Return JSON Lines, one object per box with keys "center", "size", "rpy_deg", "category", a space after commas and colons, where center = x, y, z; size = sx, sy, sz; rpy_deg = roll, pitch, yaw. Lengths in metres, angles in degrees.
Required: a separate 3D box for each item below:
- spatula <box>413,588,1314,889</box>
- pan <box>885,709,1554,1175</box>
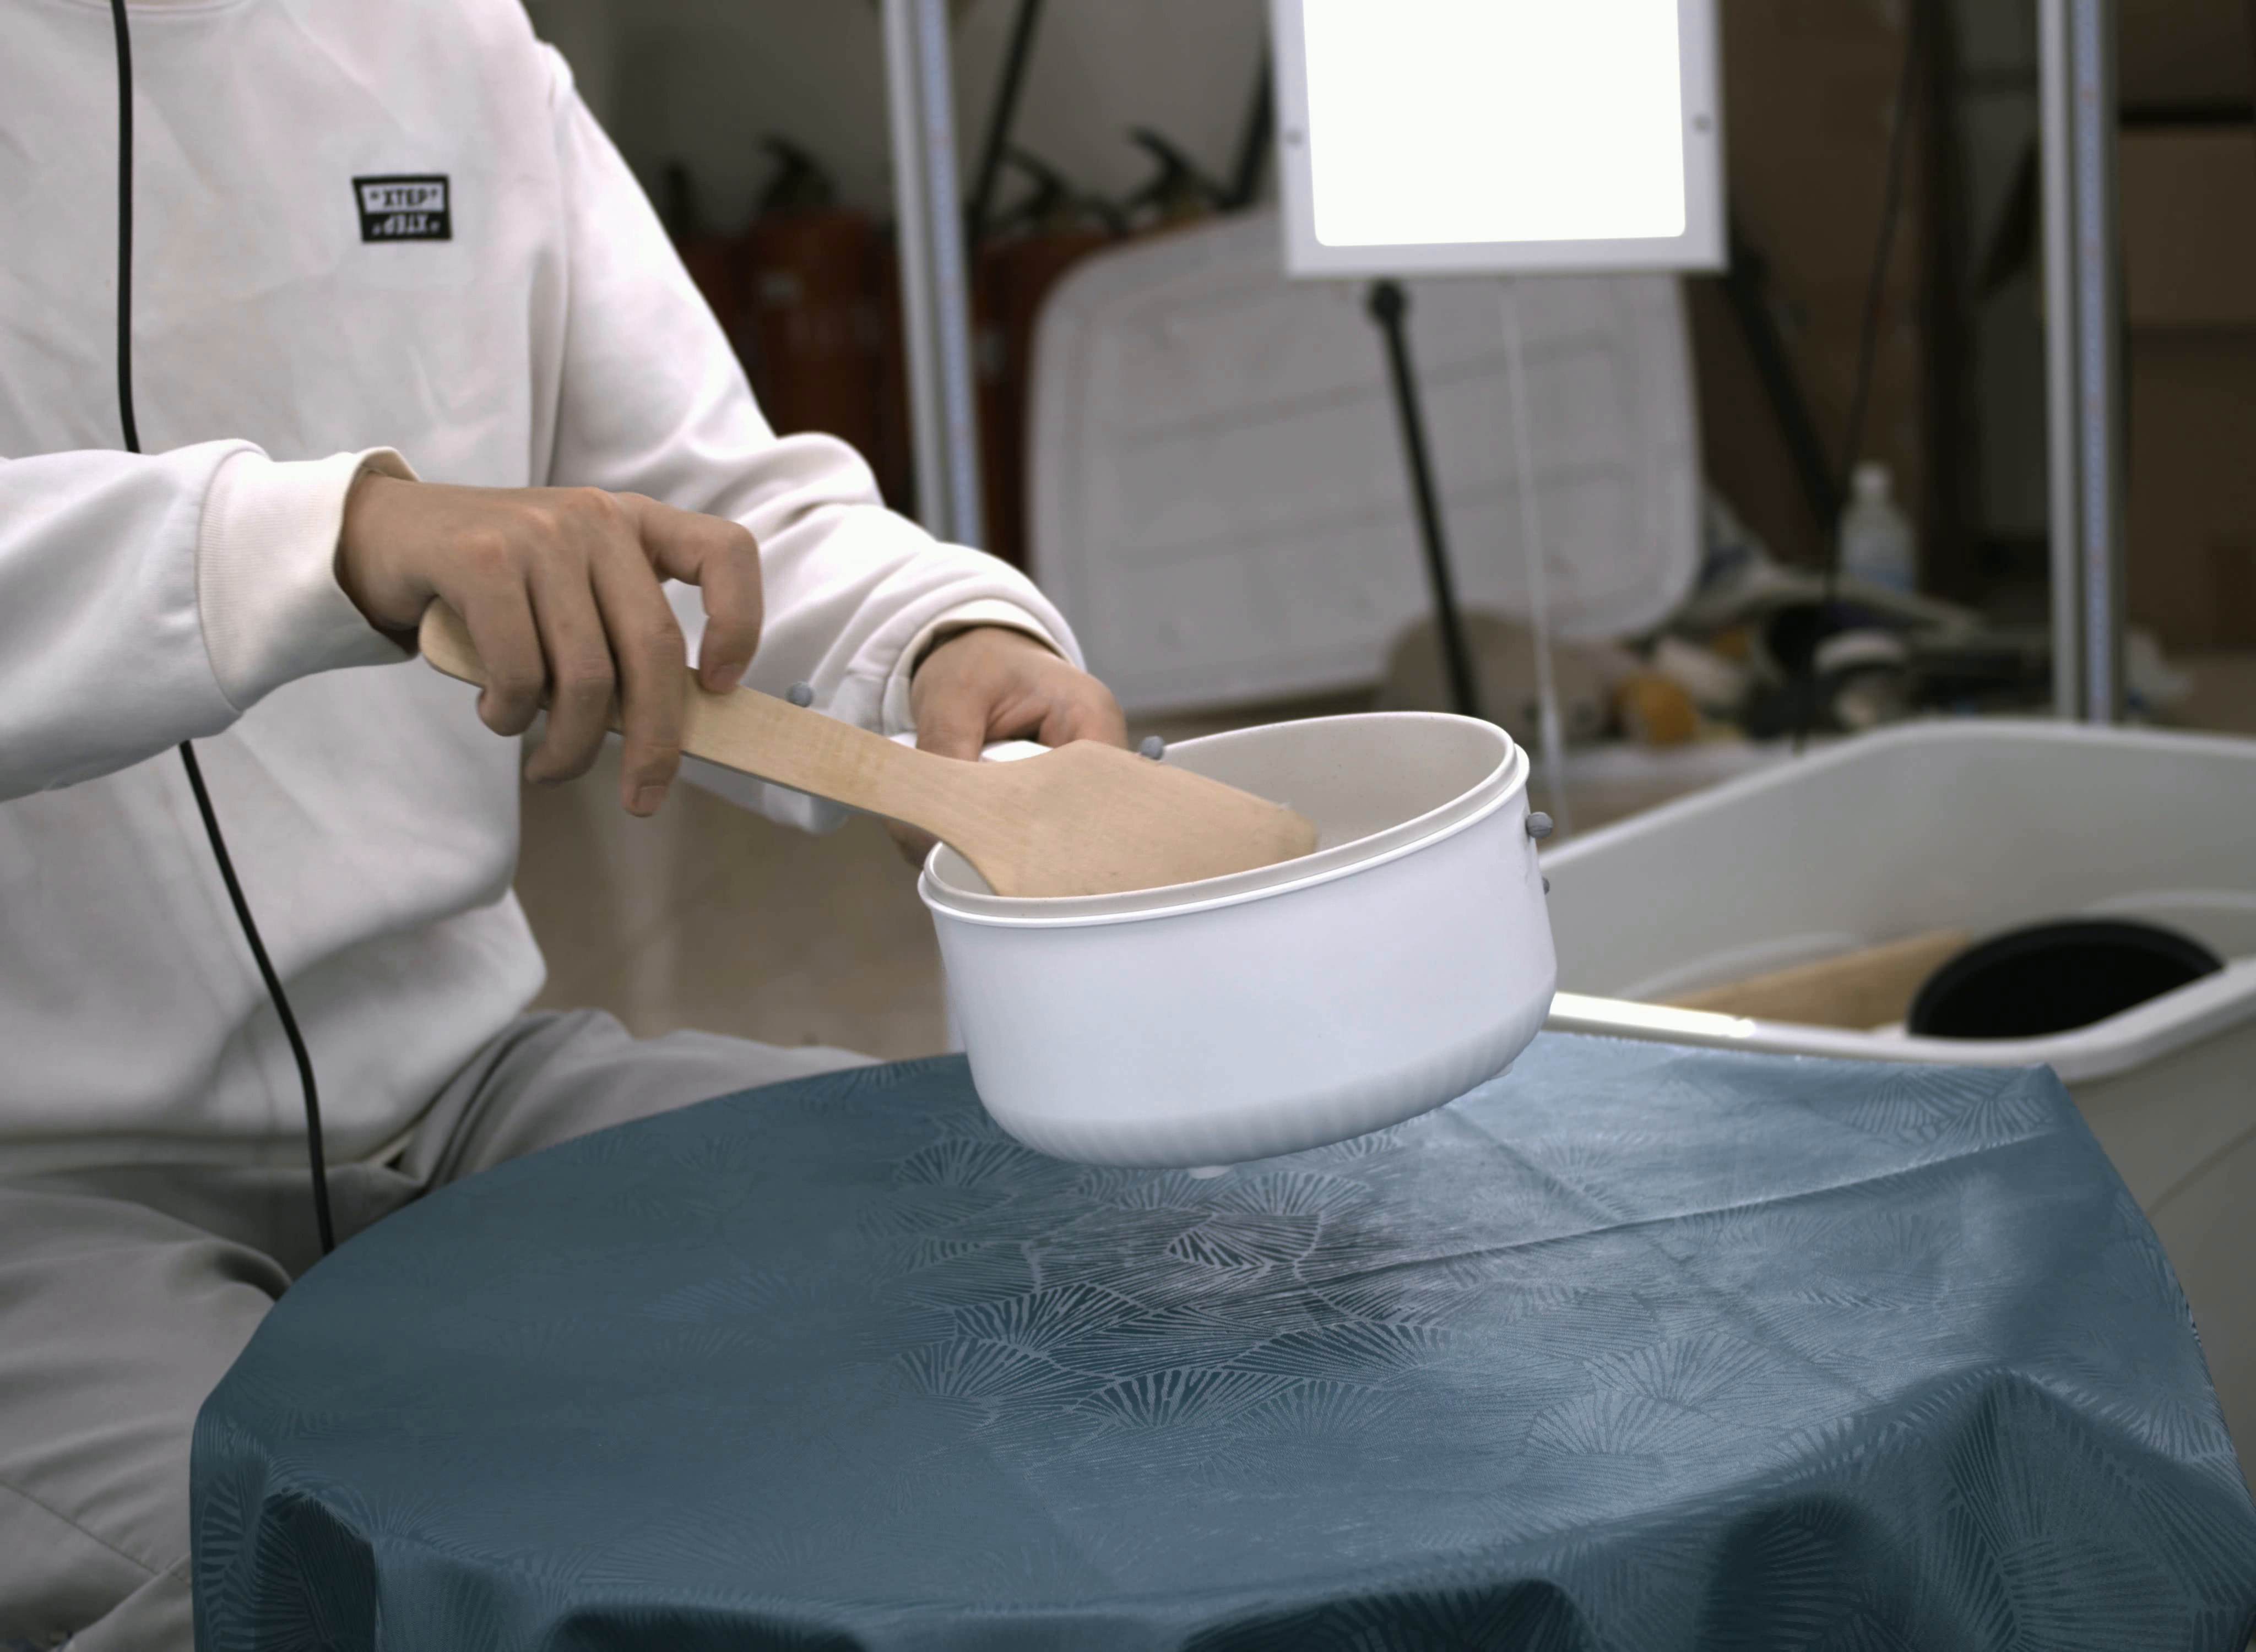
{"center": [-0.085, -0.019, 1.738], "size": [0.292, 0.072, 0.011], "rpy_deg": [19, -12, -2], "category": "spatula"}
{"center": [0.006, 0.030, 1.852], "size": [0.197, 0.102, 0.360], "rpy_deg": [-18, 14, -21], "category": "pan"}
